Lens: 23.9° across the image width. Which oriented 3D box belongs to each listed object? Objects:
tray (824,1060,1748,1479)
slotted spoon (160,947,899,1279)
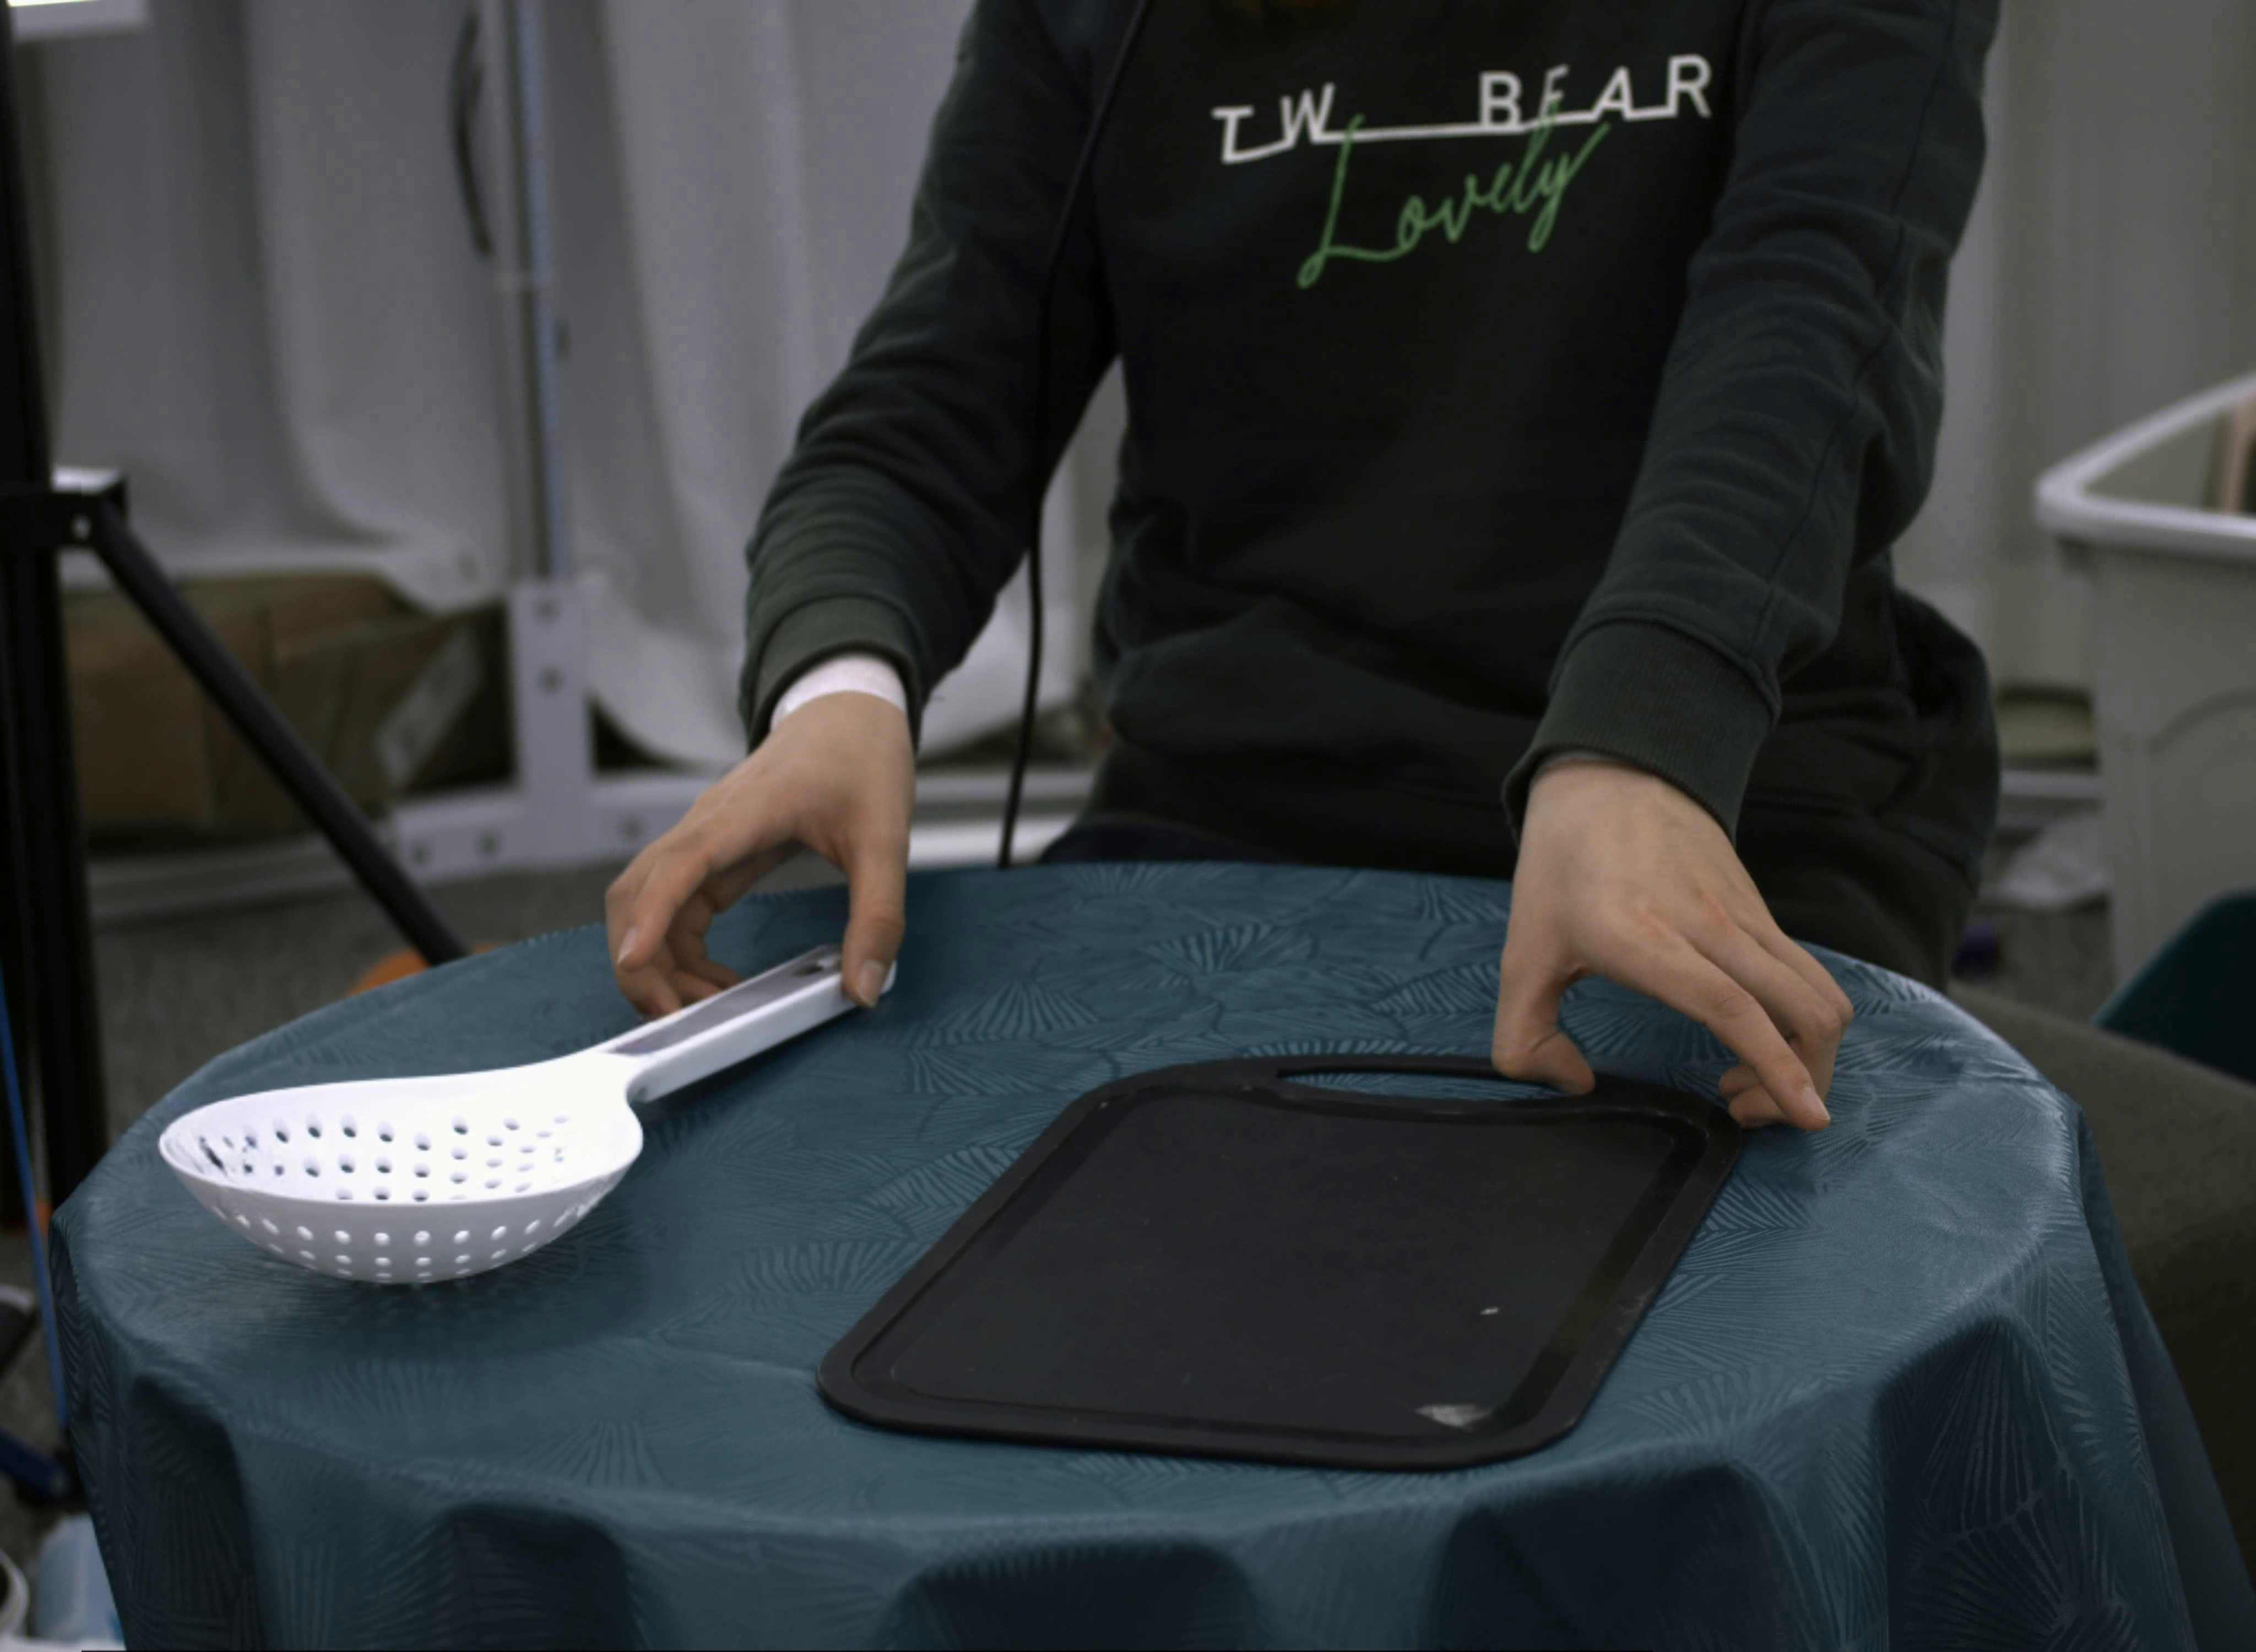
[{"bbox_3d":[0.054,0.117,1.506,0.213,0.010,0.322,3,16,18],"label":"tray"},{"bbox_3d":[-0.161,0.077,1.610,0.138,0.046,0.344,8,18,25],"label":"slotted spoon"}]
